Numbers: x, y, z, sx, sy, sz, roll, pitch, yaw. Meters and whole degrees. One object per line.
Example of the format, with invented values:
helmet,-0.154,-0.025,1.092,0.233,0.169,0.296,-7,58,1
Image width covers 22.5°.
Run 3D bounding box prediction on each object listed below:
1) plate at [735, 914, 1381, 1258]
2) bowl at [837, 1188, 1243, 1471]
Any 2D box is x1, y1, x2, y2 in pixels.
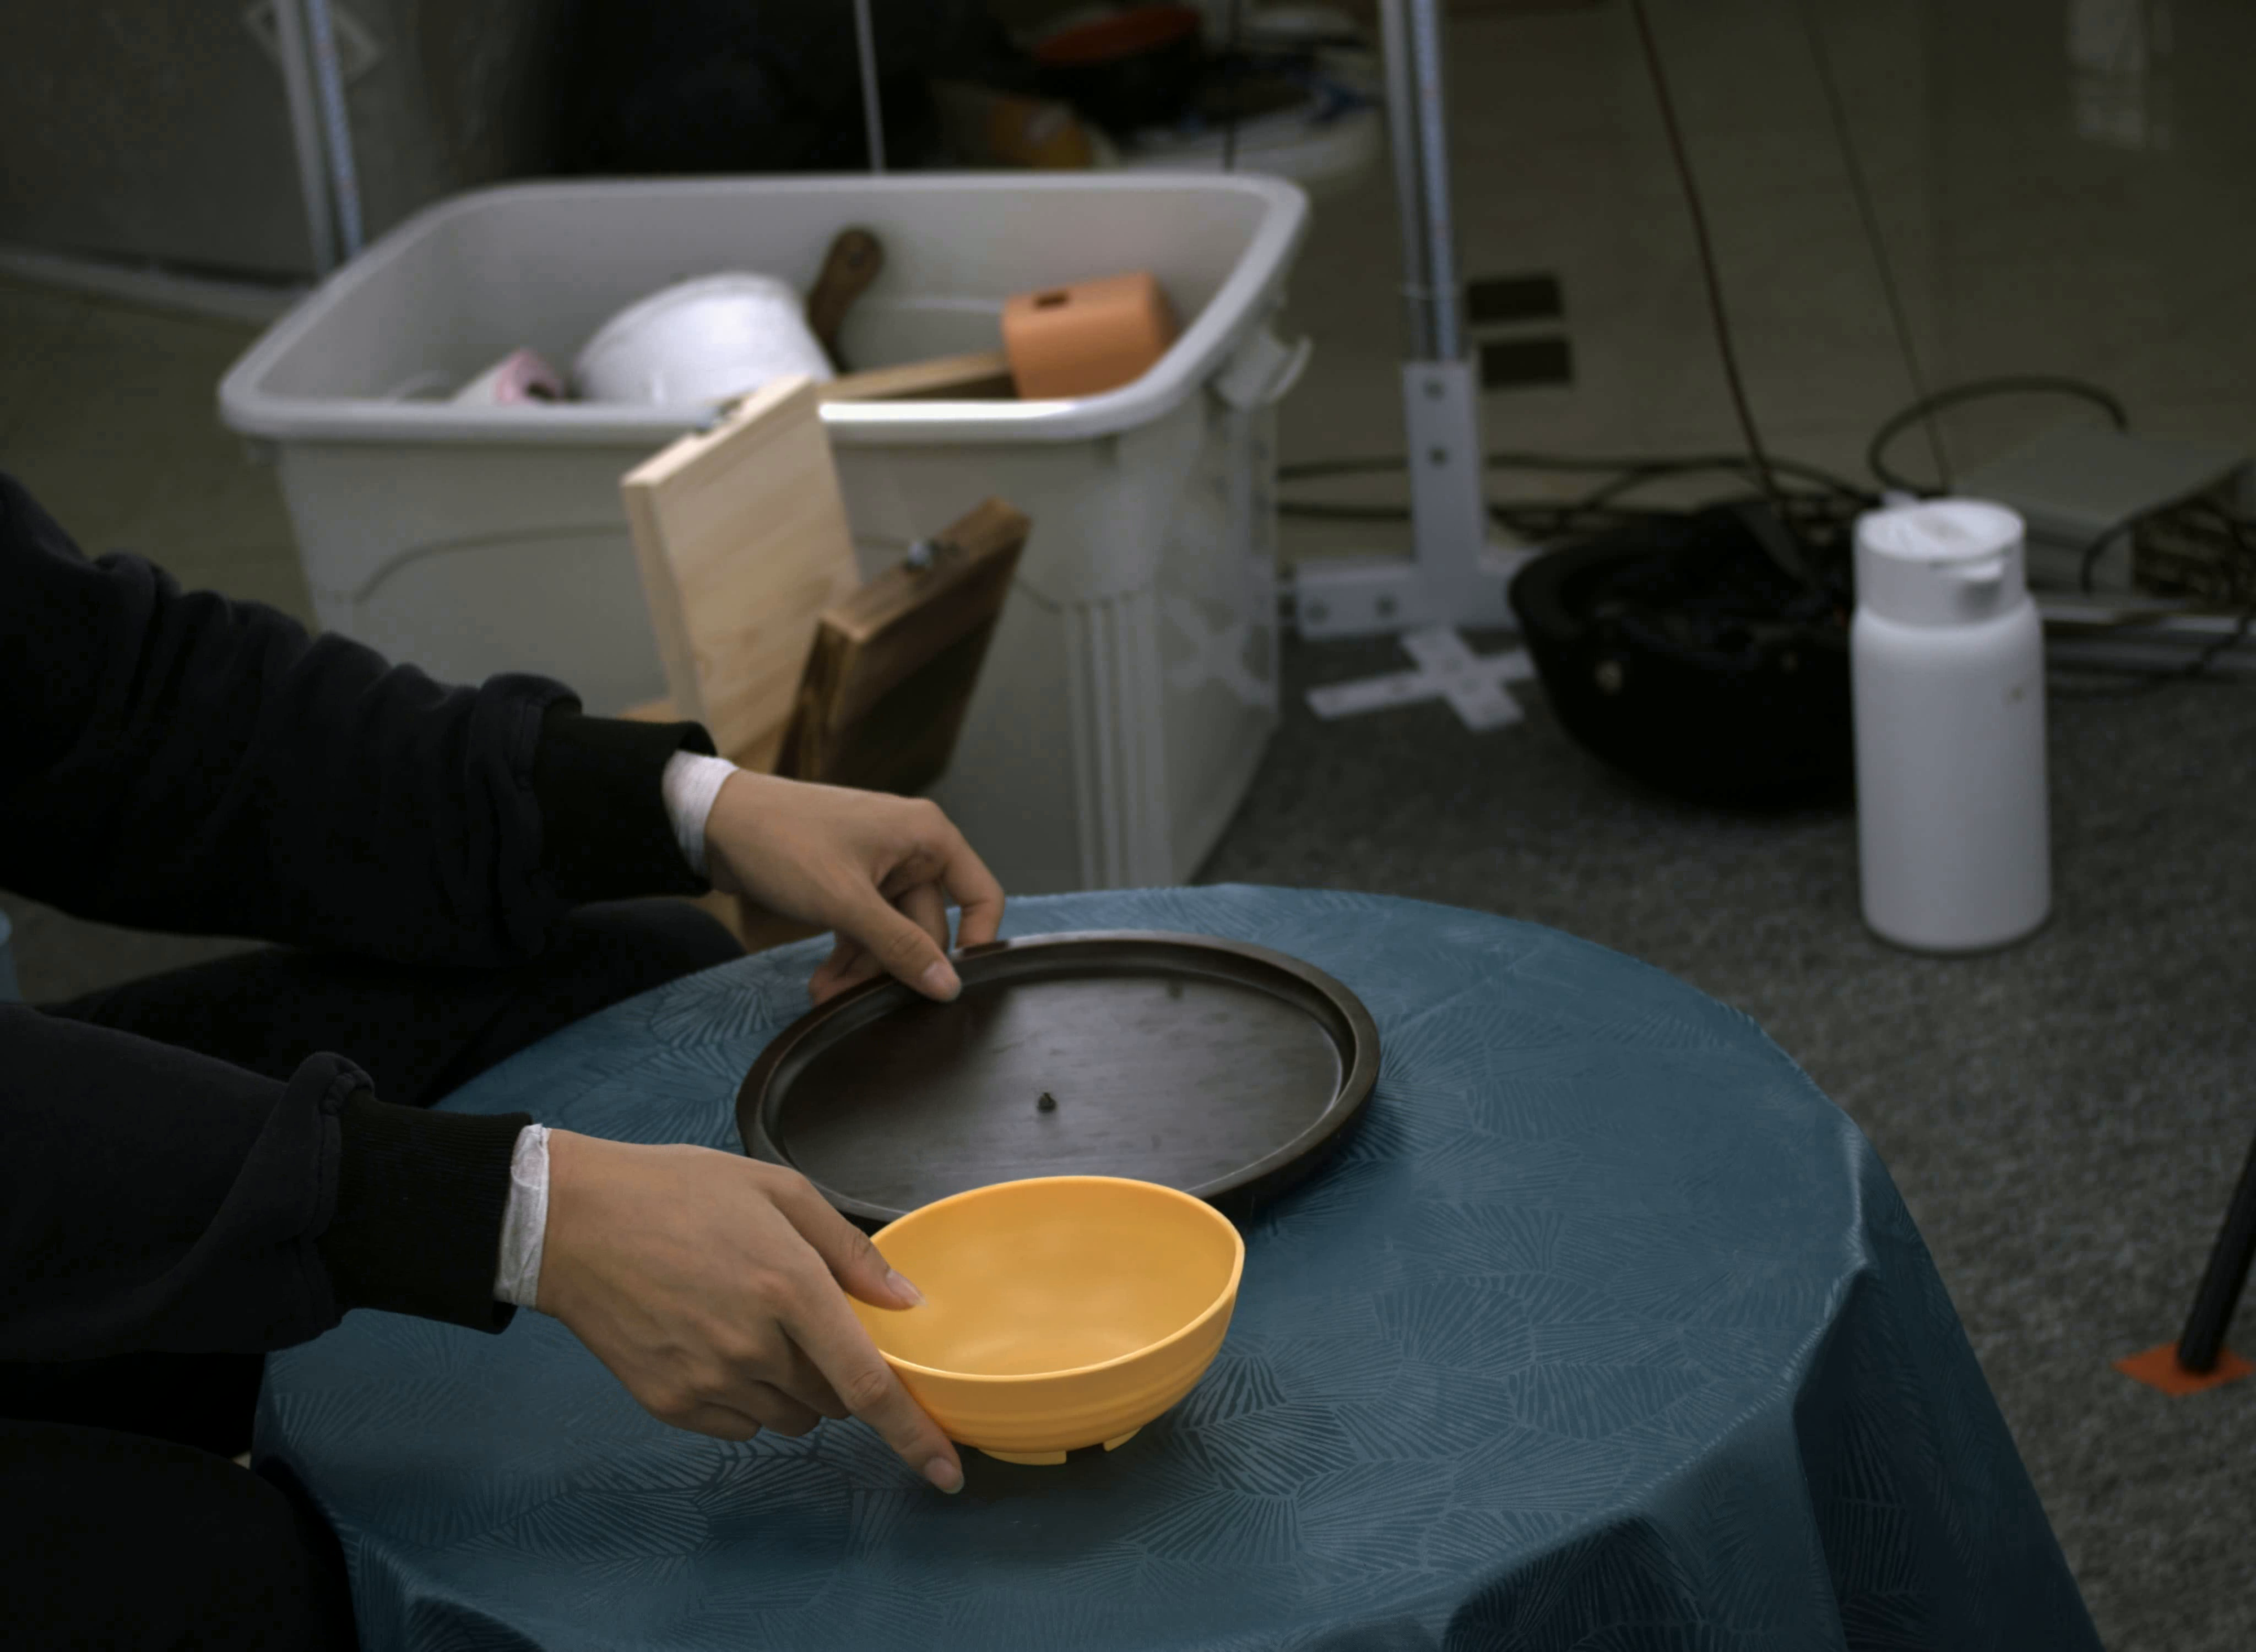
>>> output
plate,-0.027,0.105,2.205,0.254,0.029,0.251,-6,26,3
bowl,-0.027,0.185,1.995,0.145,0.061,0.143,-7,23,3
